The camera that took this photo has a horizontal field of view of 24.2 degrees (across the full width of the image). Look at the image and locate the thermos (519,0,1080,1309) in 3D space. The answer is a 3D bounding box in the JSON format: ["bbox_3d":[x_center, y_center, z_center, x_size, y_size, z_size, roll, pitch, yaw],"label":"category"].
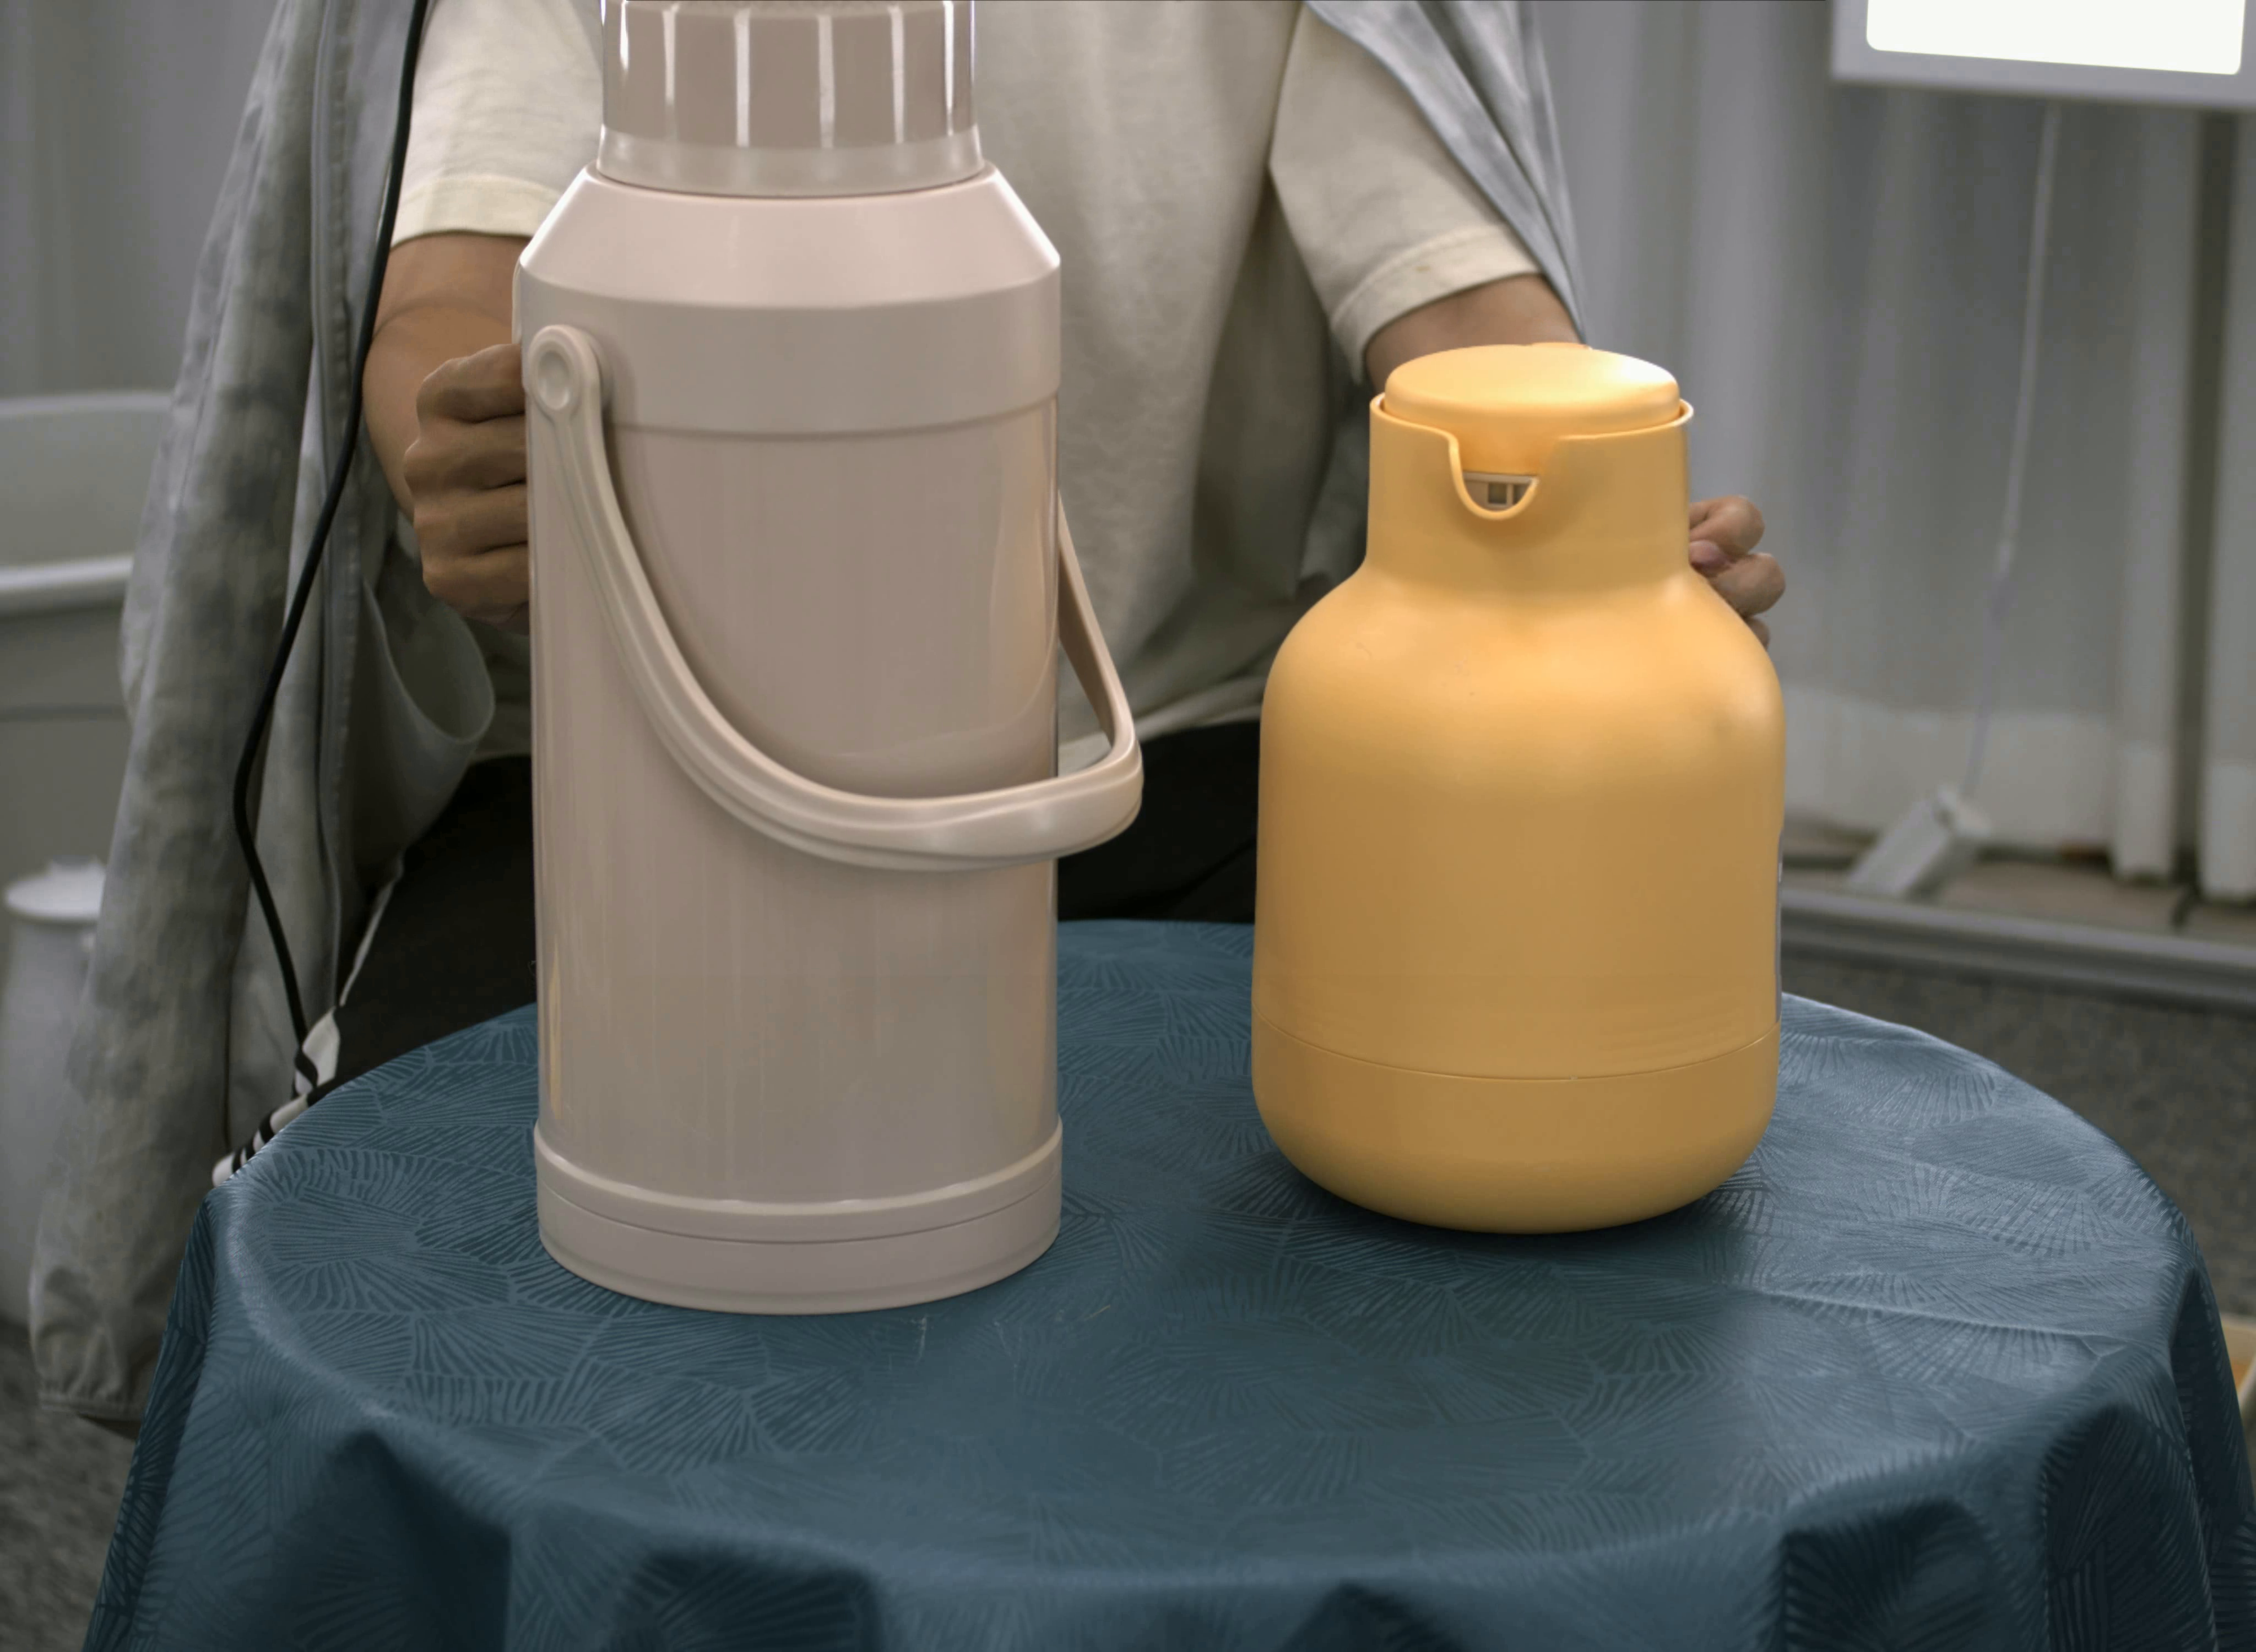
[{"bbox_3d":[-0.107,-0.075,1.549,0.176,0.410,0.204,-16,23,-41],"label":"thermos"}]

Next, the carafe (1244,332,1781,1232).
[{"bbox_3d":[0.124,-0.022,1.623,0.162,0.262,0.202,6,18,12],"label":"carafe"}]
